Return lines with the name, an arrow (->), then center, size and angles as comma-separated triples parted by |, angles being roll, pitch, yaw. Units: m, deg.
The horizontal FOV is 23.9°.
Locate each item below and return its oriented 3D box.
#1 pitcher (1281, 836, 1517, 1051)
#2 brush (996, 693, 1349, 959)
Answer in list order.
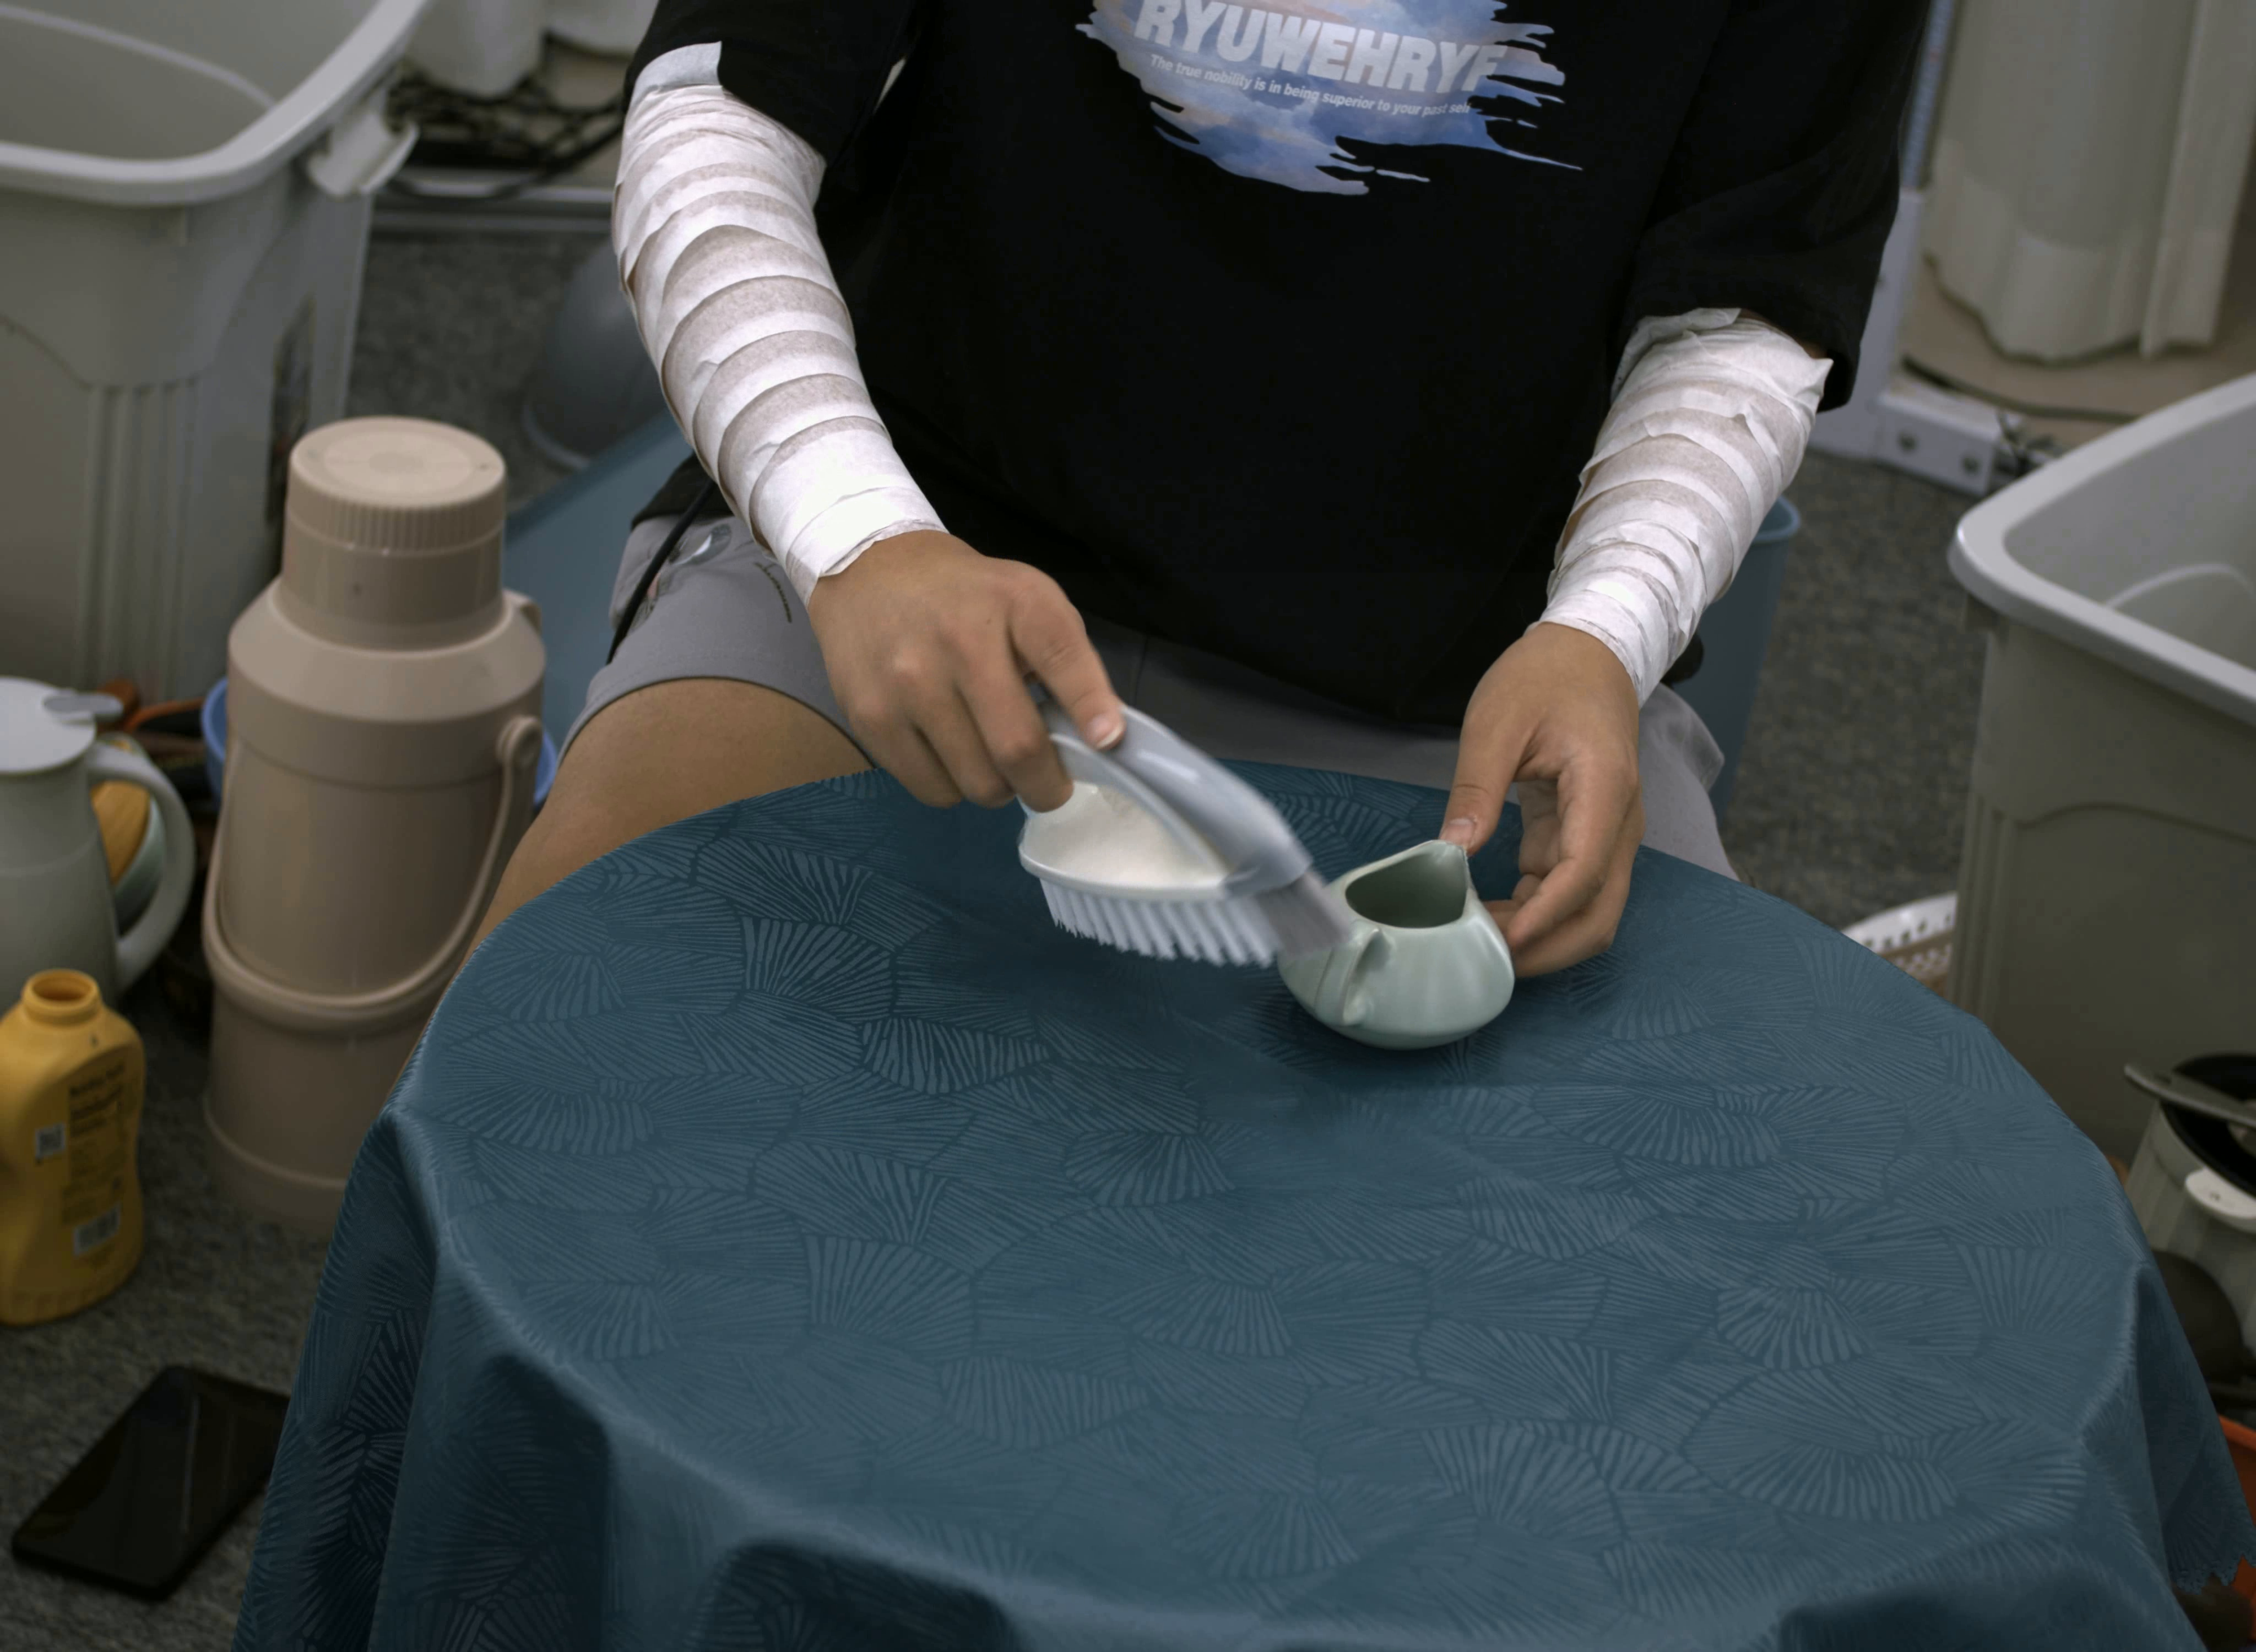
pitcher -> 0.094, 0.049, 1.911 | 0.086, 0.060, 0.108 | 16, 30, 19
brush -> 0.010, -0.004, 1.866 | 0.061, 0.093, 0.177 | -44, 27, -14
